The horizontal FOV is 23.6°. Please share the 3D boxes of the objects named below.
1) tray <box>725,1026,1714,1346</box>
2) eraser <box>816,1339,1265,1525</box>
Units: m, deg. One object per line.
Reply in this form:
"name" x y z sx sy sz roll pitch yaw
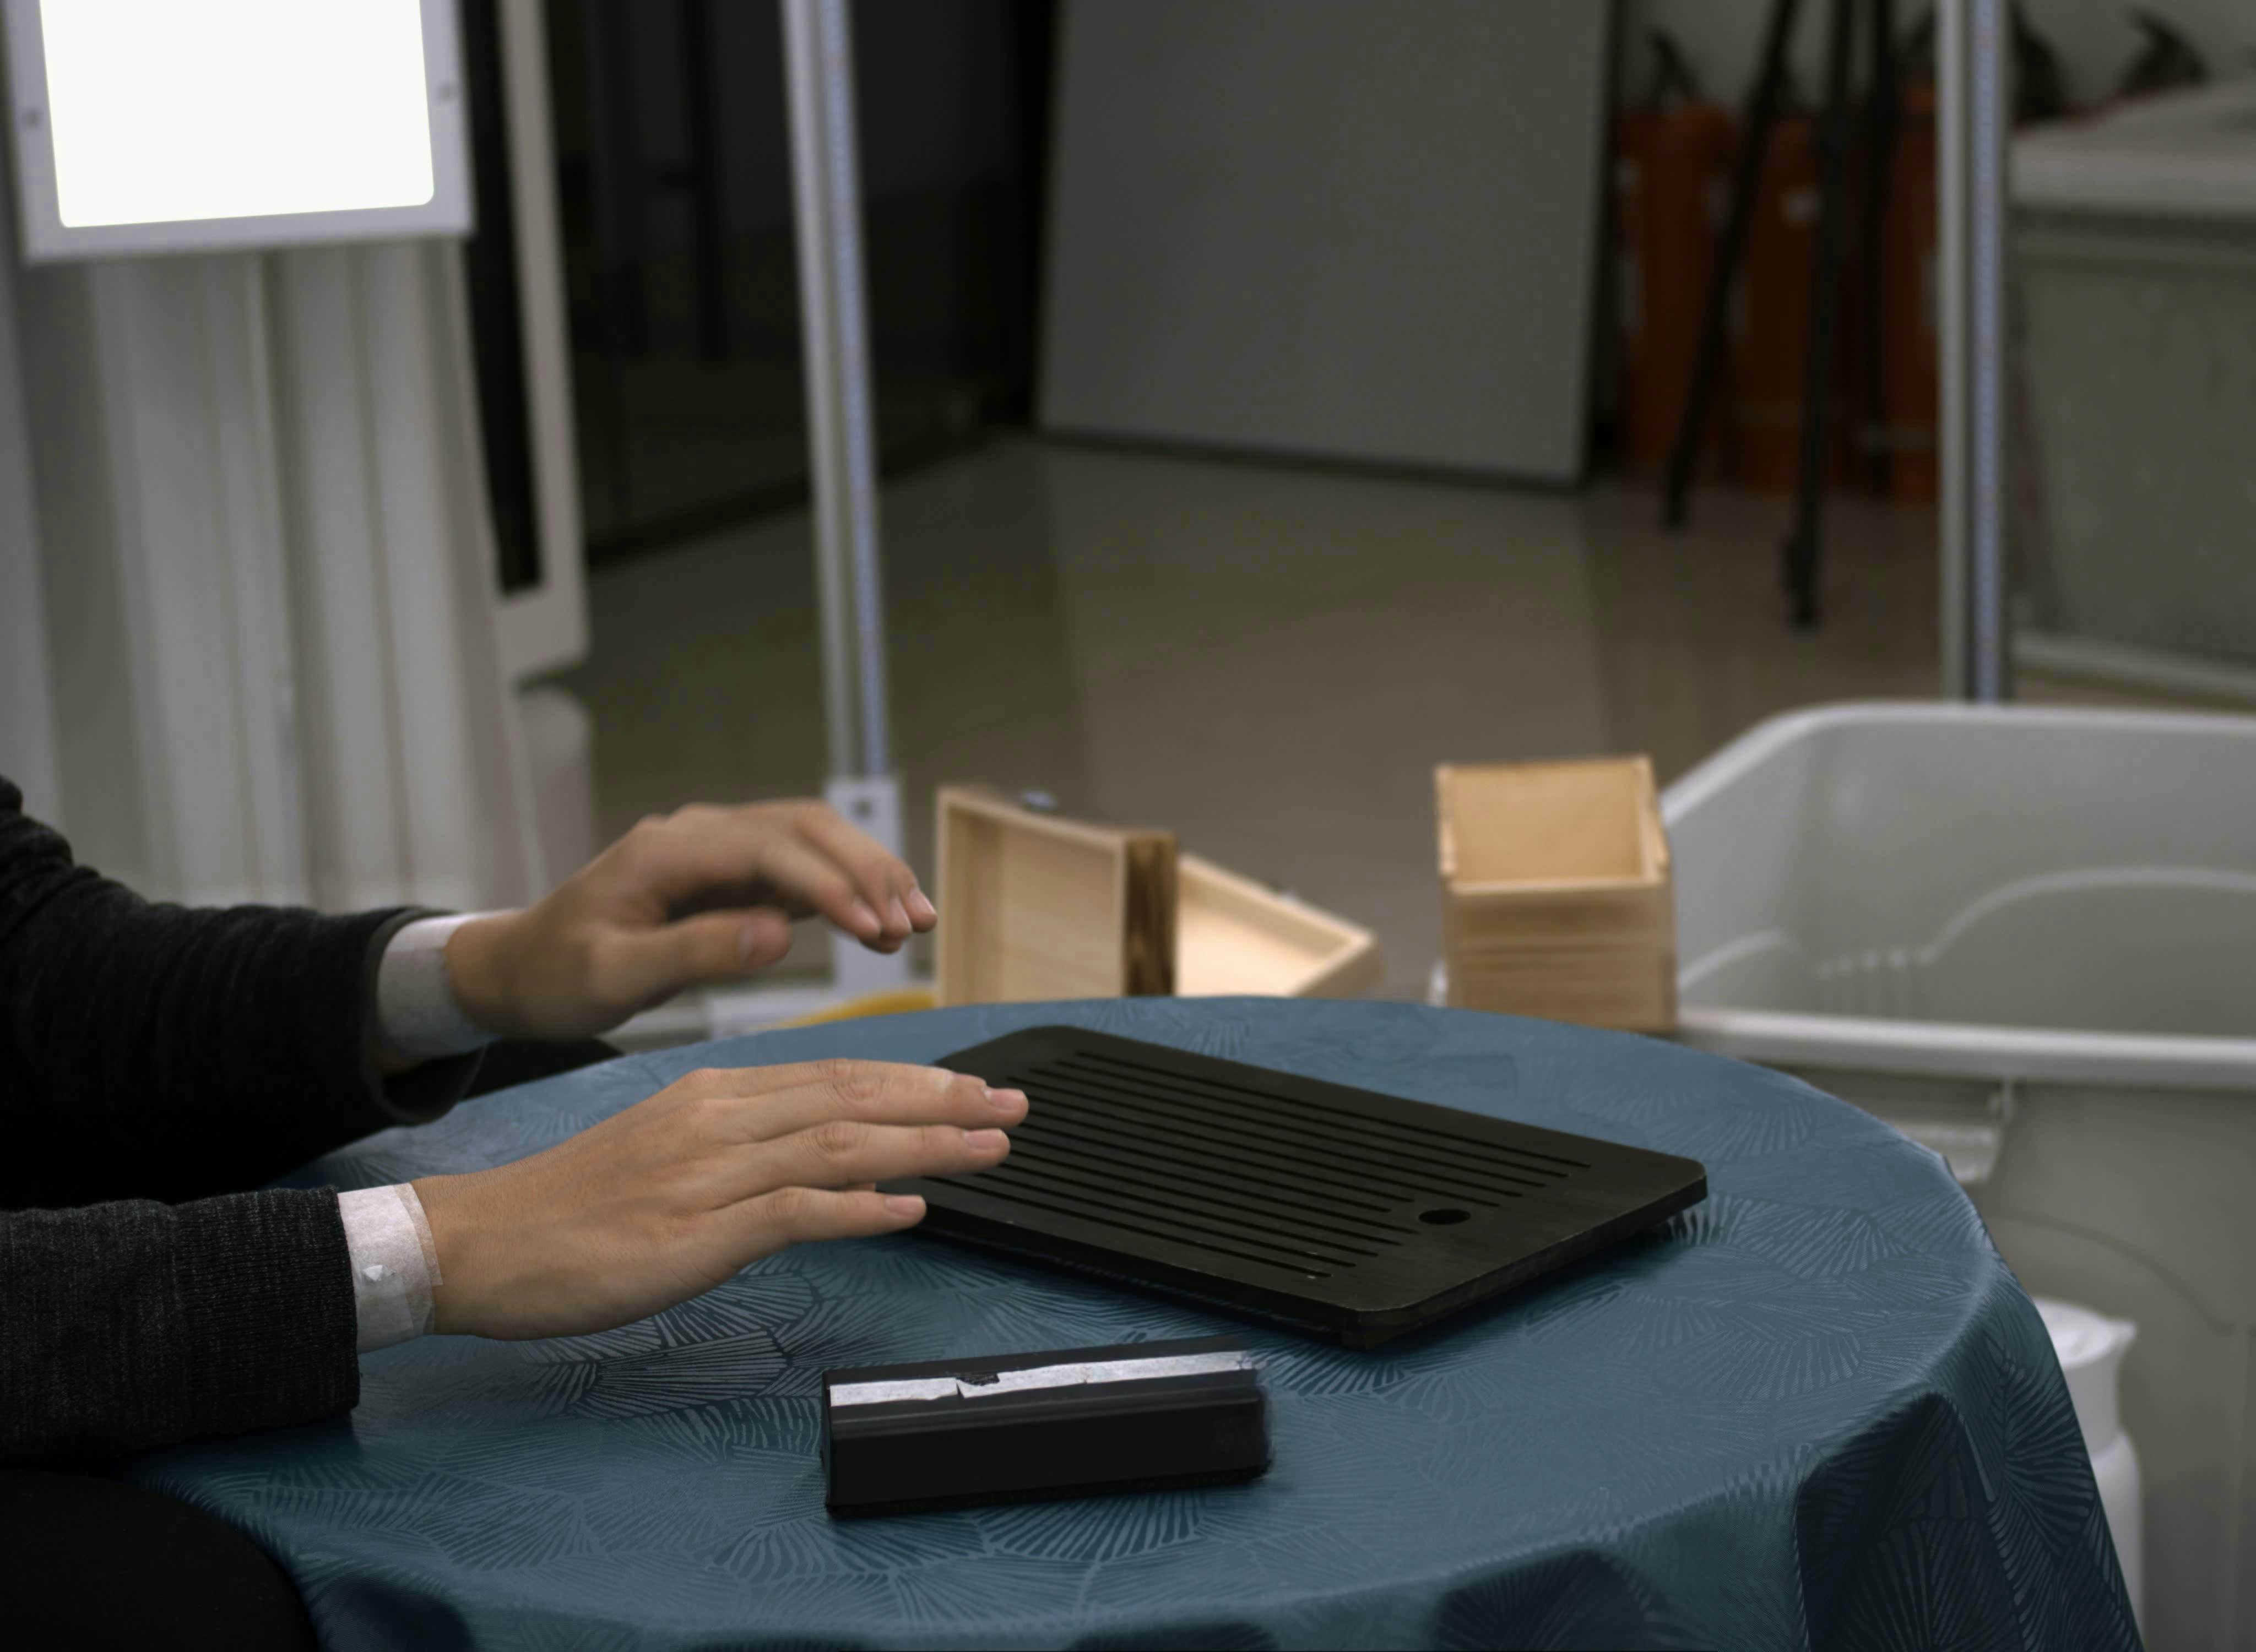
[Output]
"tray" 0.026 0.114 1.753 0.309 0.019 0.166 9 20 44
"eraser" -0.024 0.170 1.520 0.123 0.031 0.054 -6 11 -4
